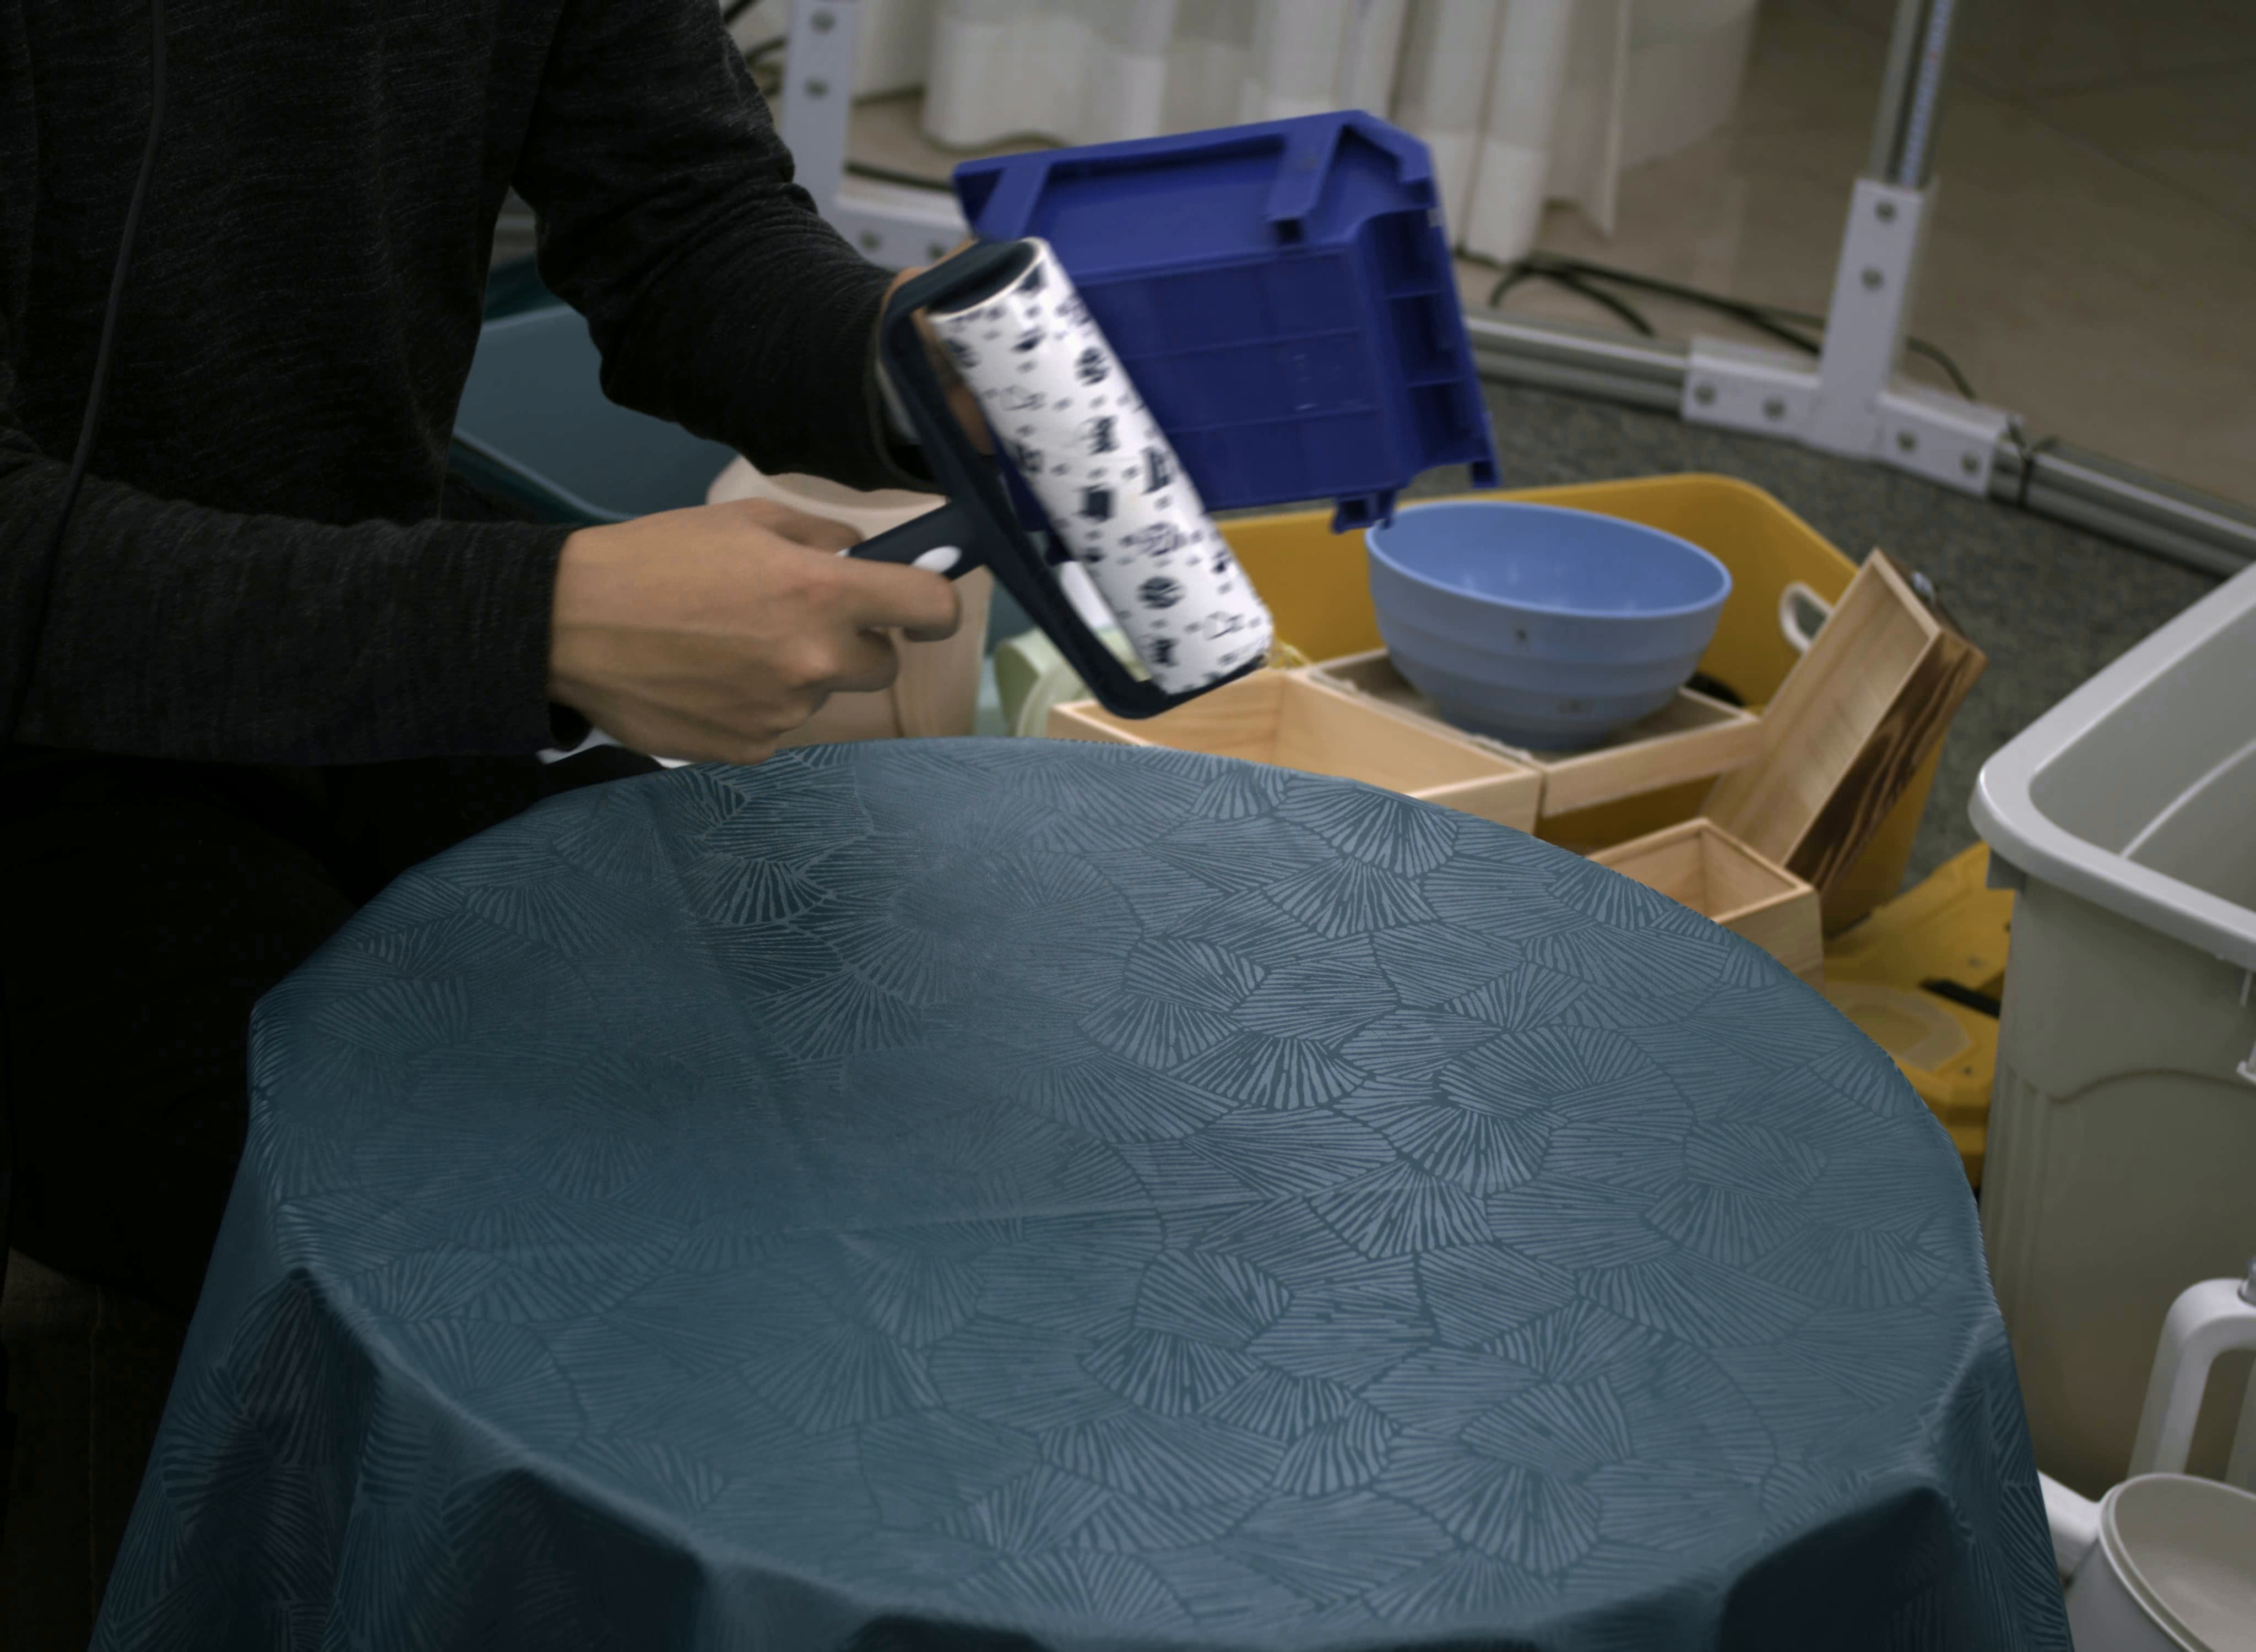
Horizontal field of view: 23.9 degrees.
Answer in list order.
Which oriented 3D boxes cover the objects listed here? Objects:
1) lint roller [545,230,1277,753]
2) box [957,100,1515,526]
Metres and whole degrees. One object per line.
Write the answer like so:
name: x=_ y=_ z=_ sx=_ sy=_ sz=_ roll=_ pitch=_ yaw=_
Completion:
lint roller: x=-0.093 y=-0.078 z=1.819 sx=0.247 sy=0.175 sz=0.050 roll=-27 pitch=24 yaw=14
box: x=0.036 y=-0.168 z=1.832 sx=0.179 sy=0.124 sz=0.082 roll=-8 pitch=30 yaw=15
